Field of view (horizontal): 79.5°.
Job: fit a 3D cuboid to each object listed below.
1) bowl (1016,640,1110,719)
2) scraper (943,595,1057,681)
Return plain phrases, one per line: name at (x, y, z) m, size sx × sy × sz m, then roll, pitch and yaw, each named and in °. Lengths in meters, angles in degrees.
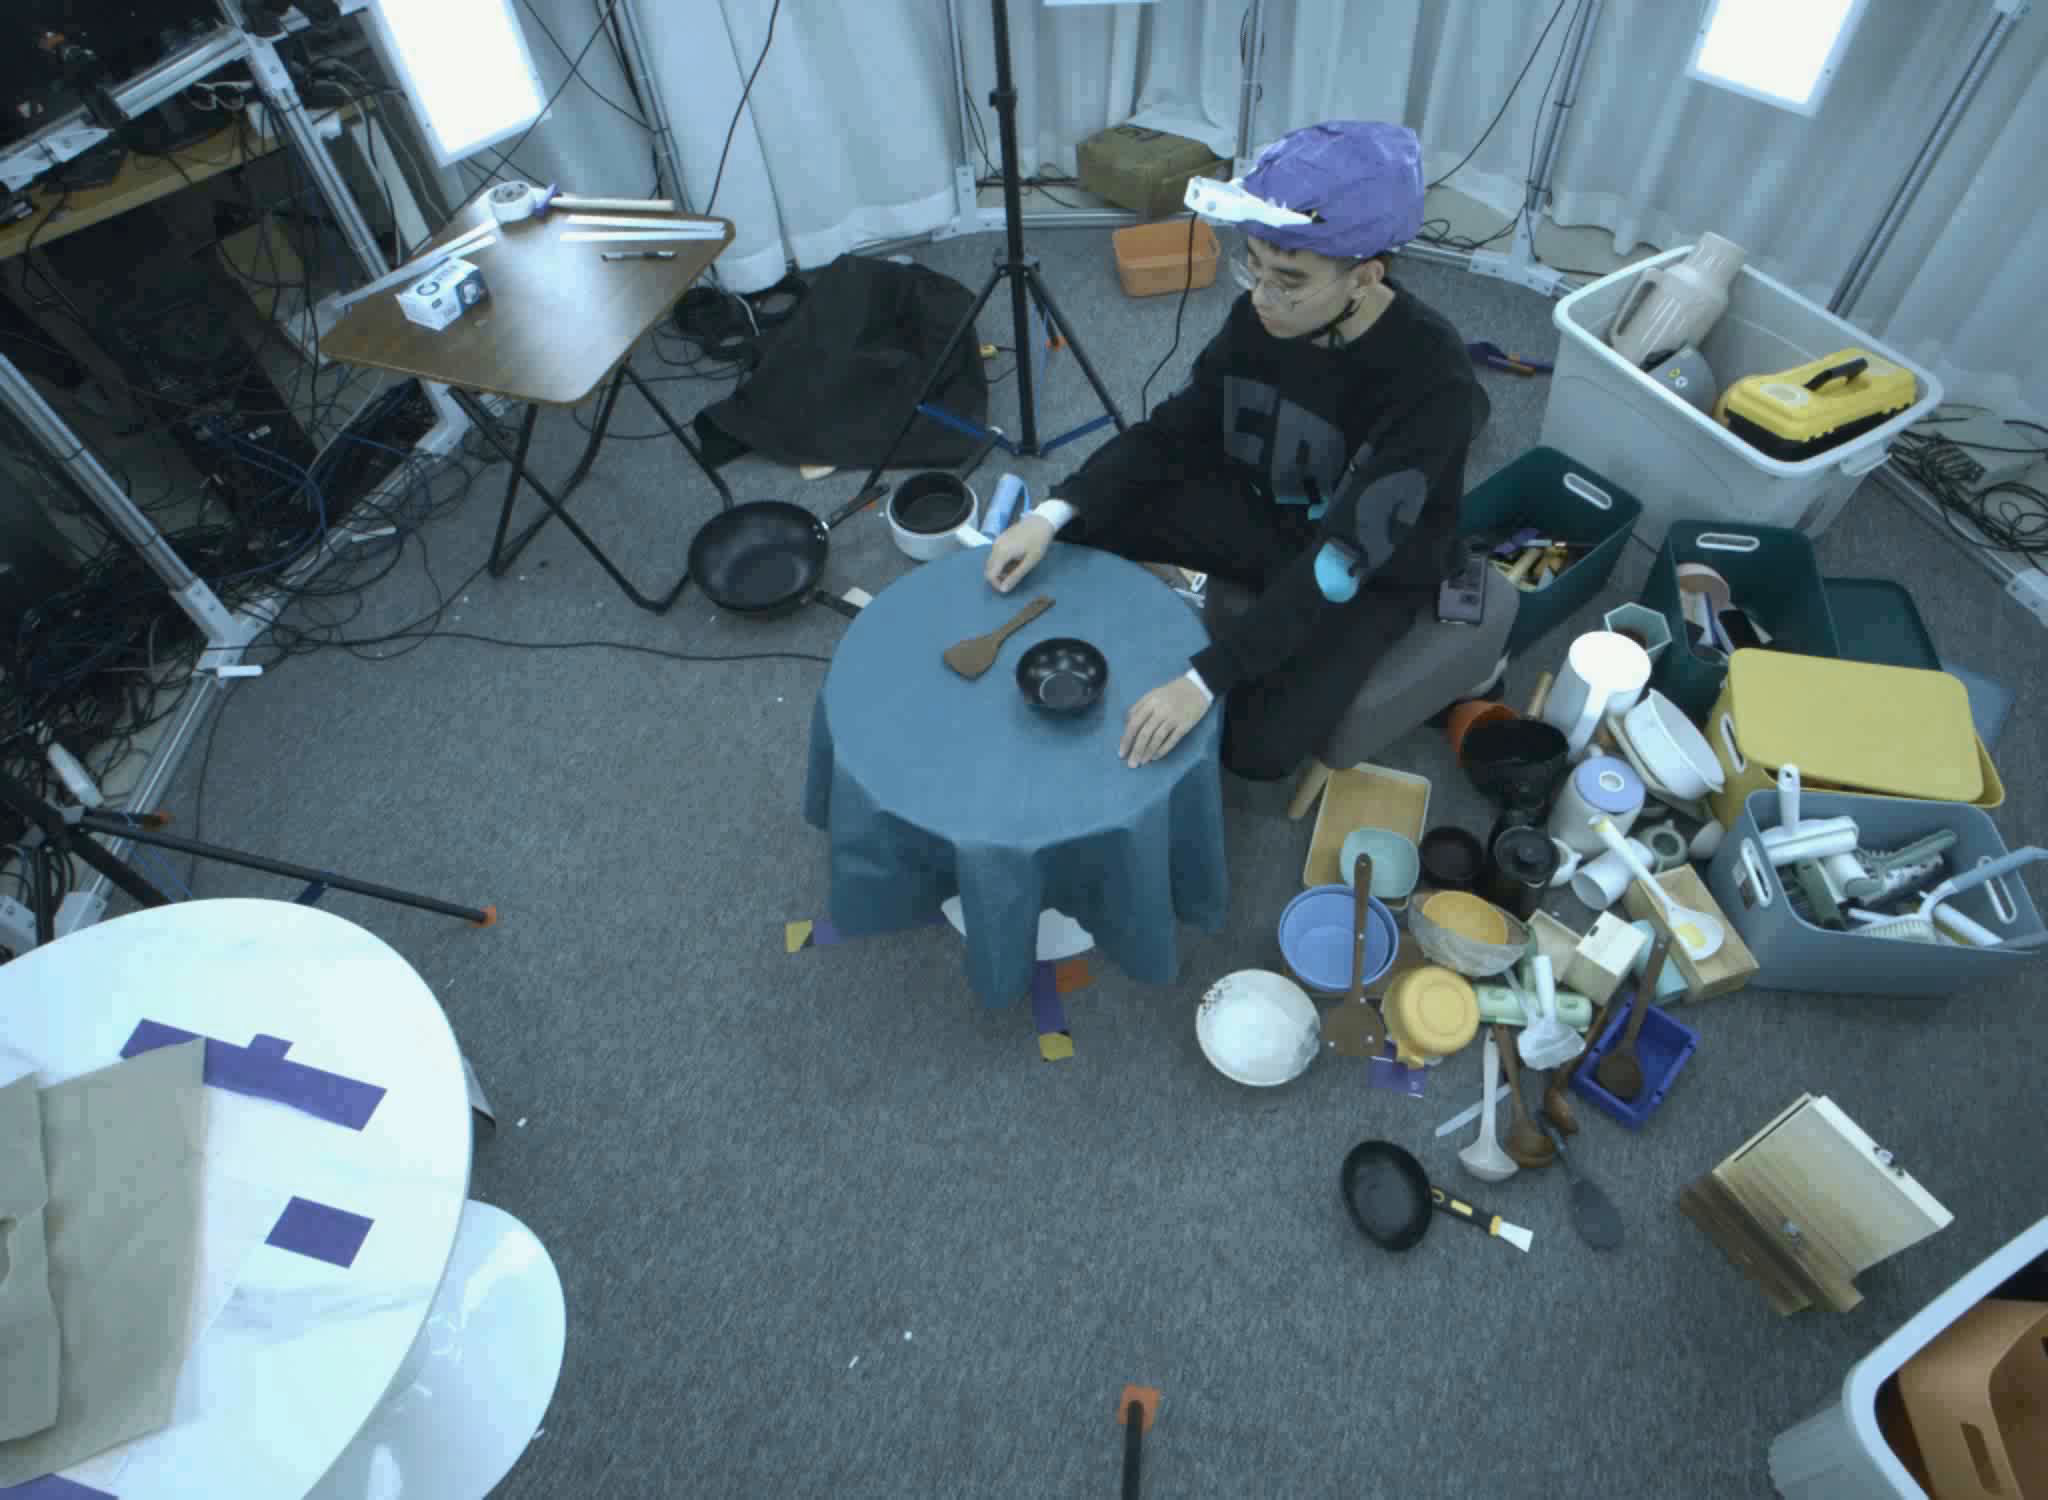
bowl at (0.060, -0.097, 1.833) m, size 0.139 × 0.050 × 0.138 m, roll -2°, pitch 54°, yaw 4°
scraper at (-0.030, -0.180, 1.921) m, size 0.213 × 0.011 × 0.074 m, roll -39°, pitch 64°, yaw -24°
